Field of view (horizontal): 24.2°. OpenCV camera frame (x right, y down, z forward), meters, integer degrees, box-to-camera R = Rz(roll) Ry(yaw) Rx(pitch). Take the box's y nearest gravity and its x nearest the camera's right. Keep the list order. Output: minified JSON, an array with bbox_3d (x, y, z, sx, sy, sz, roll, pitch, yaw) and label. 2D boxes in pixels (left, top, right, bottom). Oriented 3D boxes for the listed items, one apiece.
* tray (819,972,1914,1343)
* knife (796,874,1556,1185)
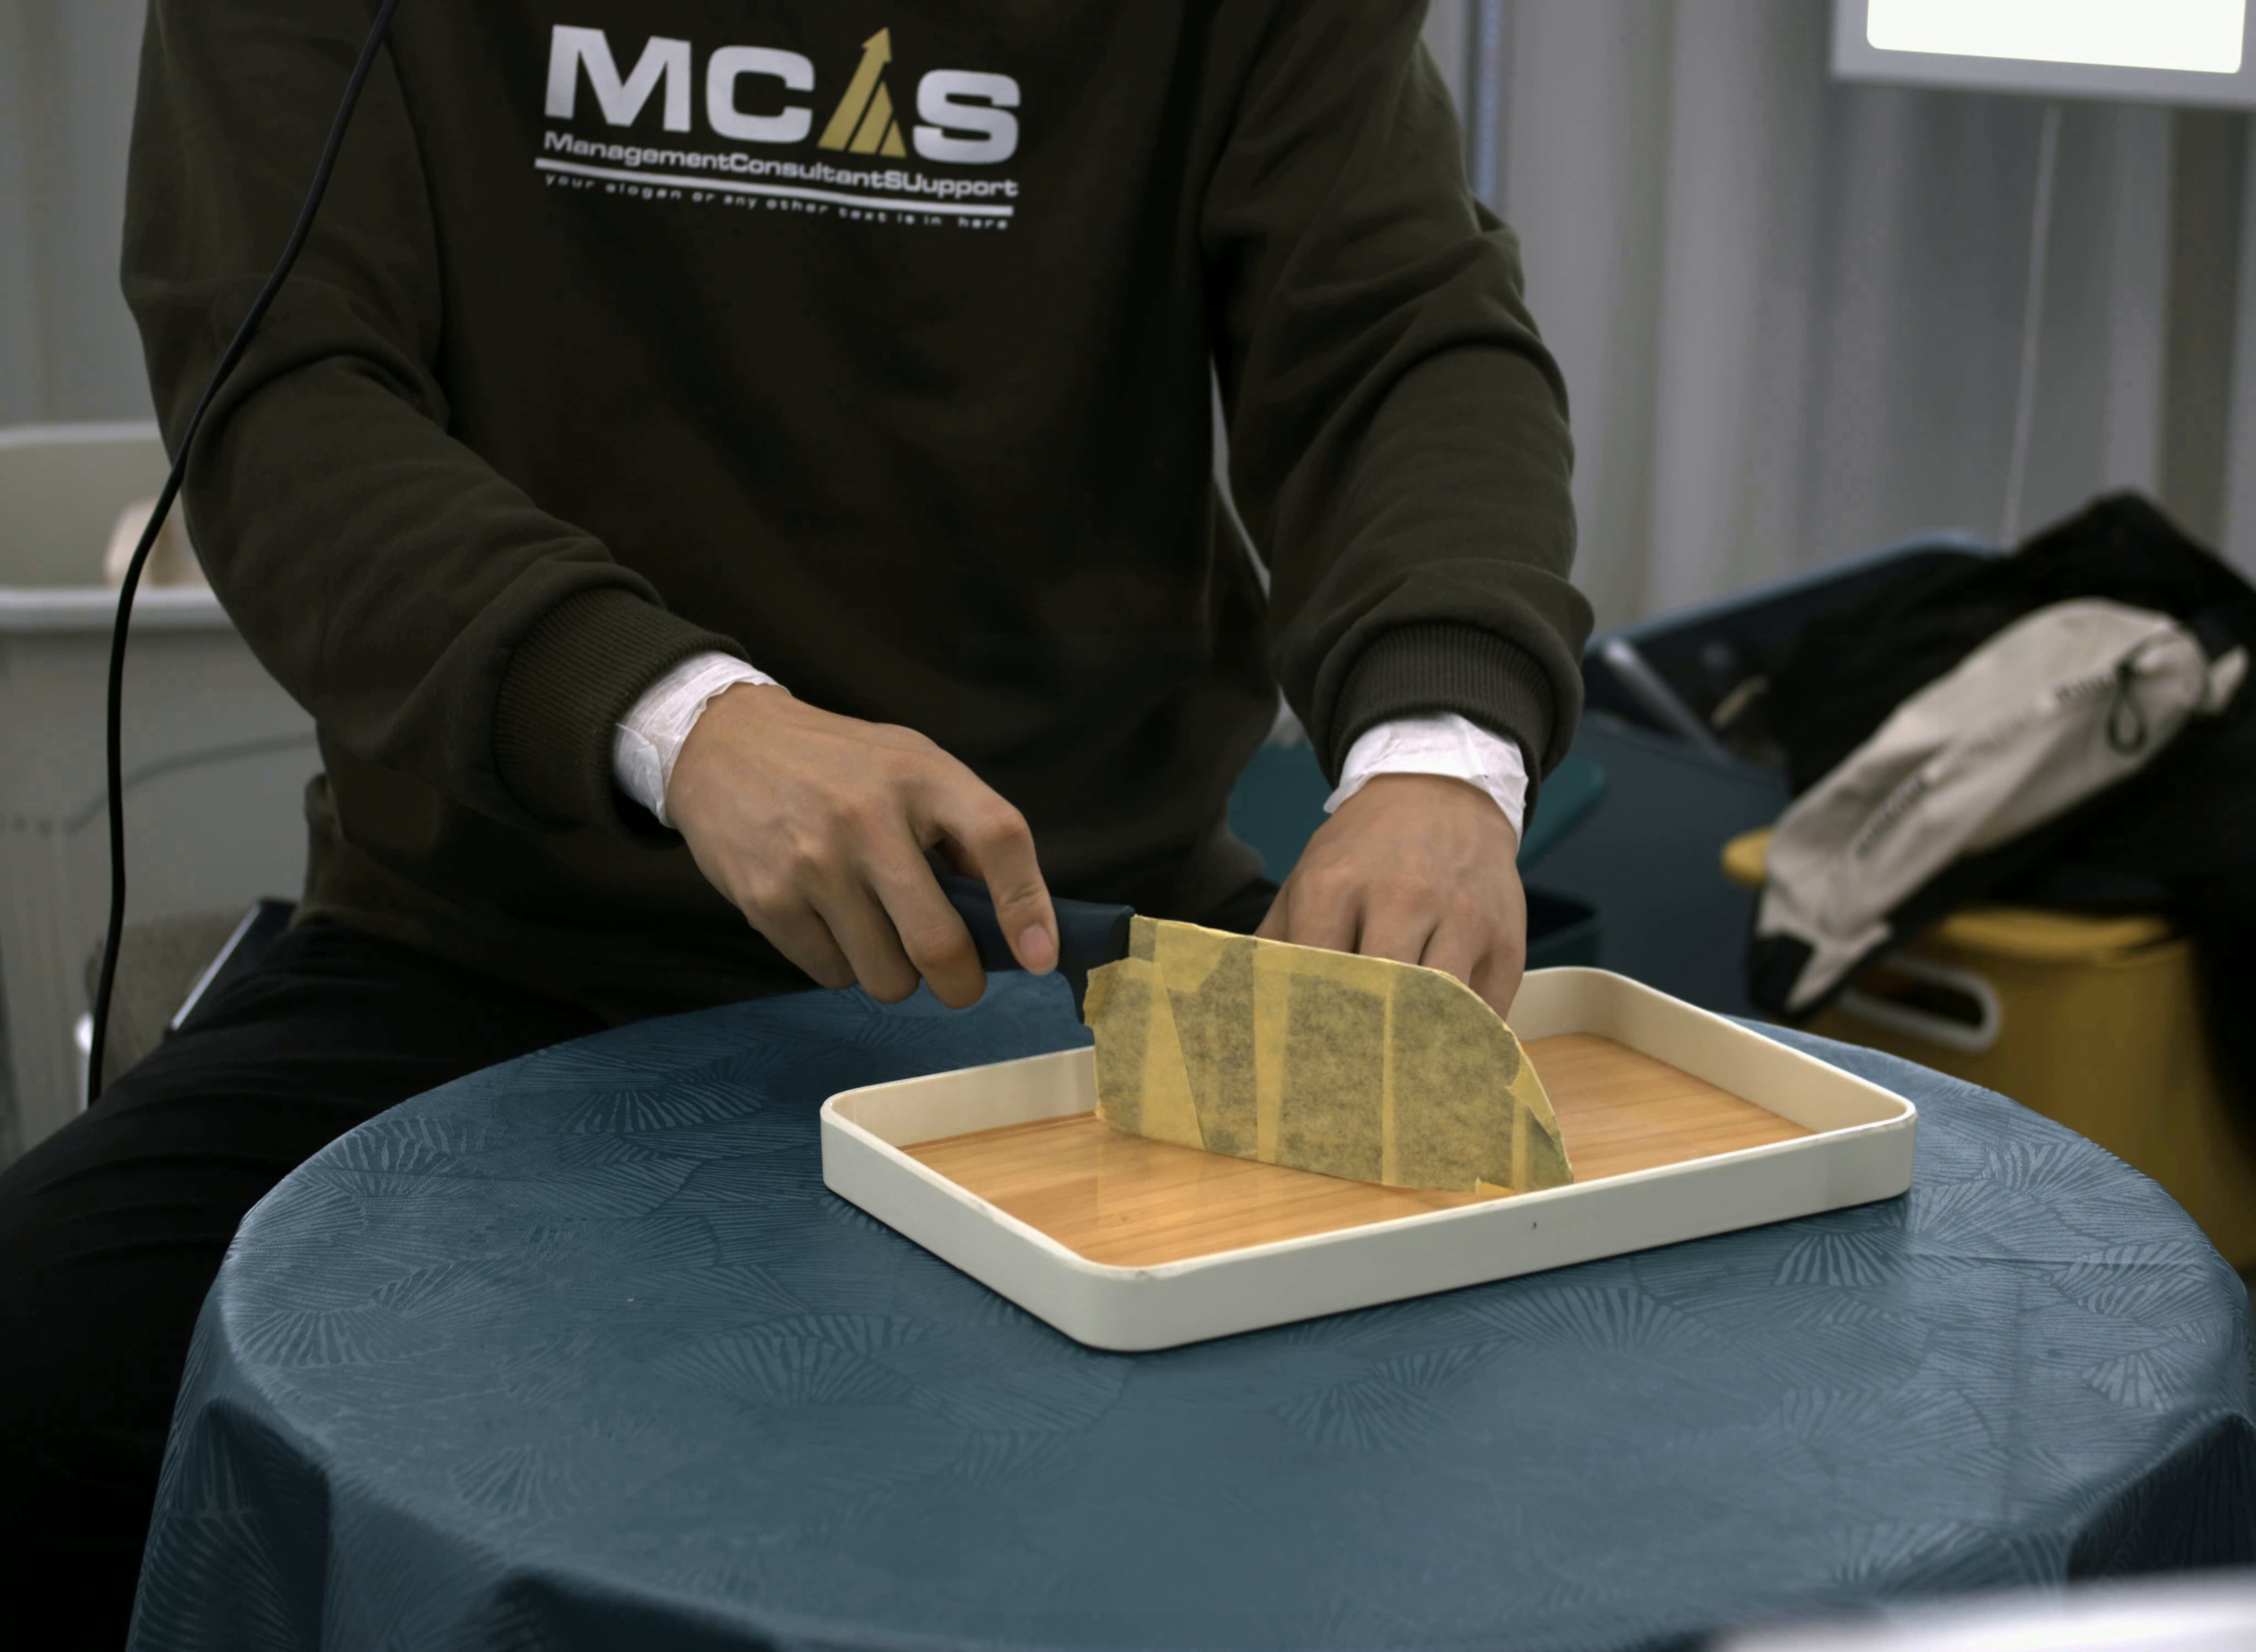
[{"bbox_3d":[0.074,0.098,1.629,0.301,0.027,0.189,-8,16,-30],"label":"tray"},{"bbox_3d":[0.011,0.061,1.642,0.286,0.081,0.027,13,19,33],"label":"knife"}]
